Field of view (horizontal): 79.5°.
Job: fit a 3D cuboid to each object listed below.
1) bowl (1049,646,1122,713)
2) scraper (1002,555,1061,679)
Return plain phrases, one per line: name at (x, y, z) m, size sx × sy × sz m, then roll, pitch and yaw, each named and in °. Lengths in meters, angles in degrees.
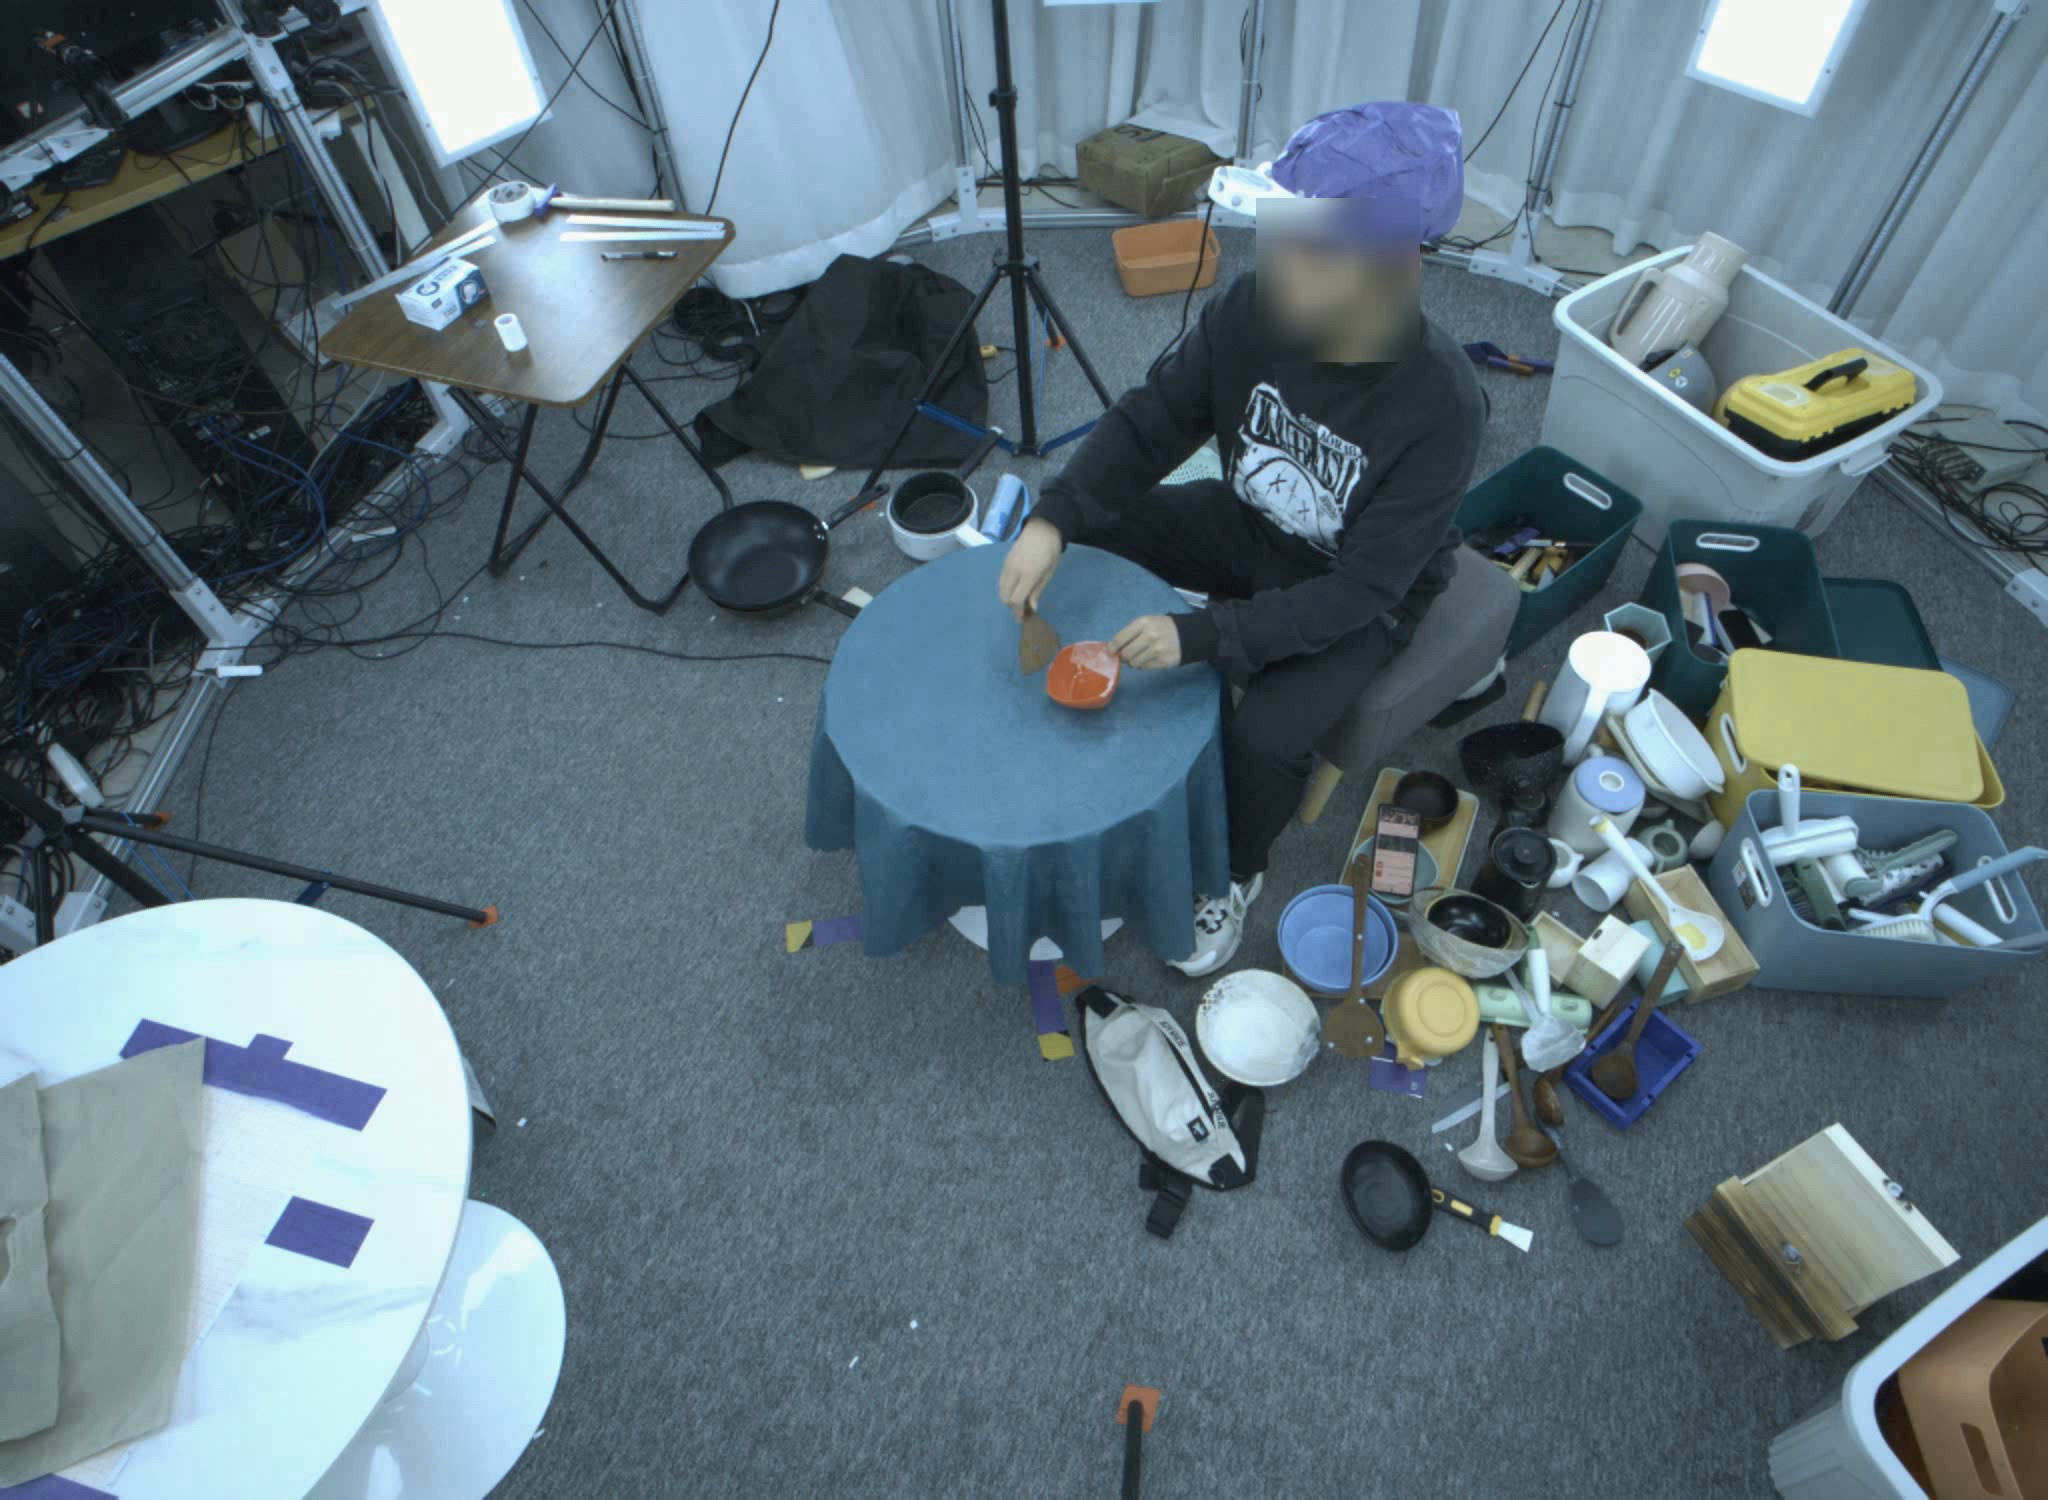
bowl at (0.098, -0.096, 1.822) m, size 0.118 × 0.052 × 0.118 m, roll -11°, pitch 54°, yaw 16°
scraper at (0.001, -0.204, 1.829) m, size 0.075 × 0.011 × 0.208 m, roll -27°, pitch 62°, yaw 23°
